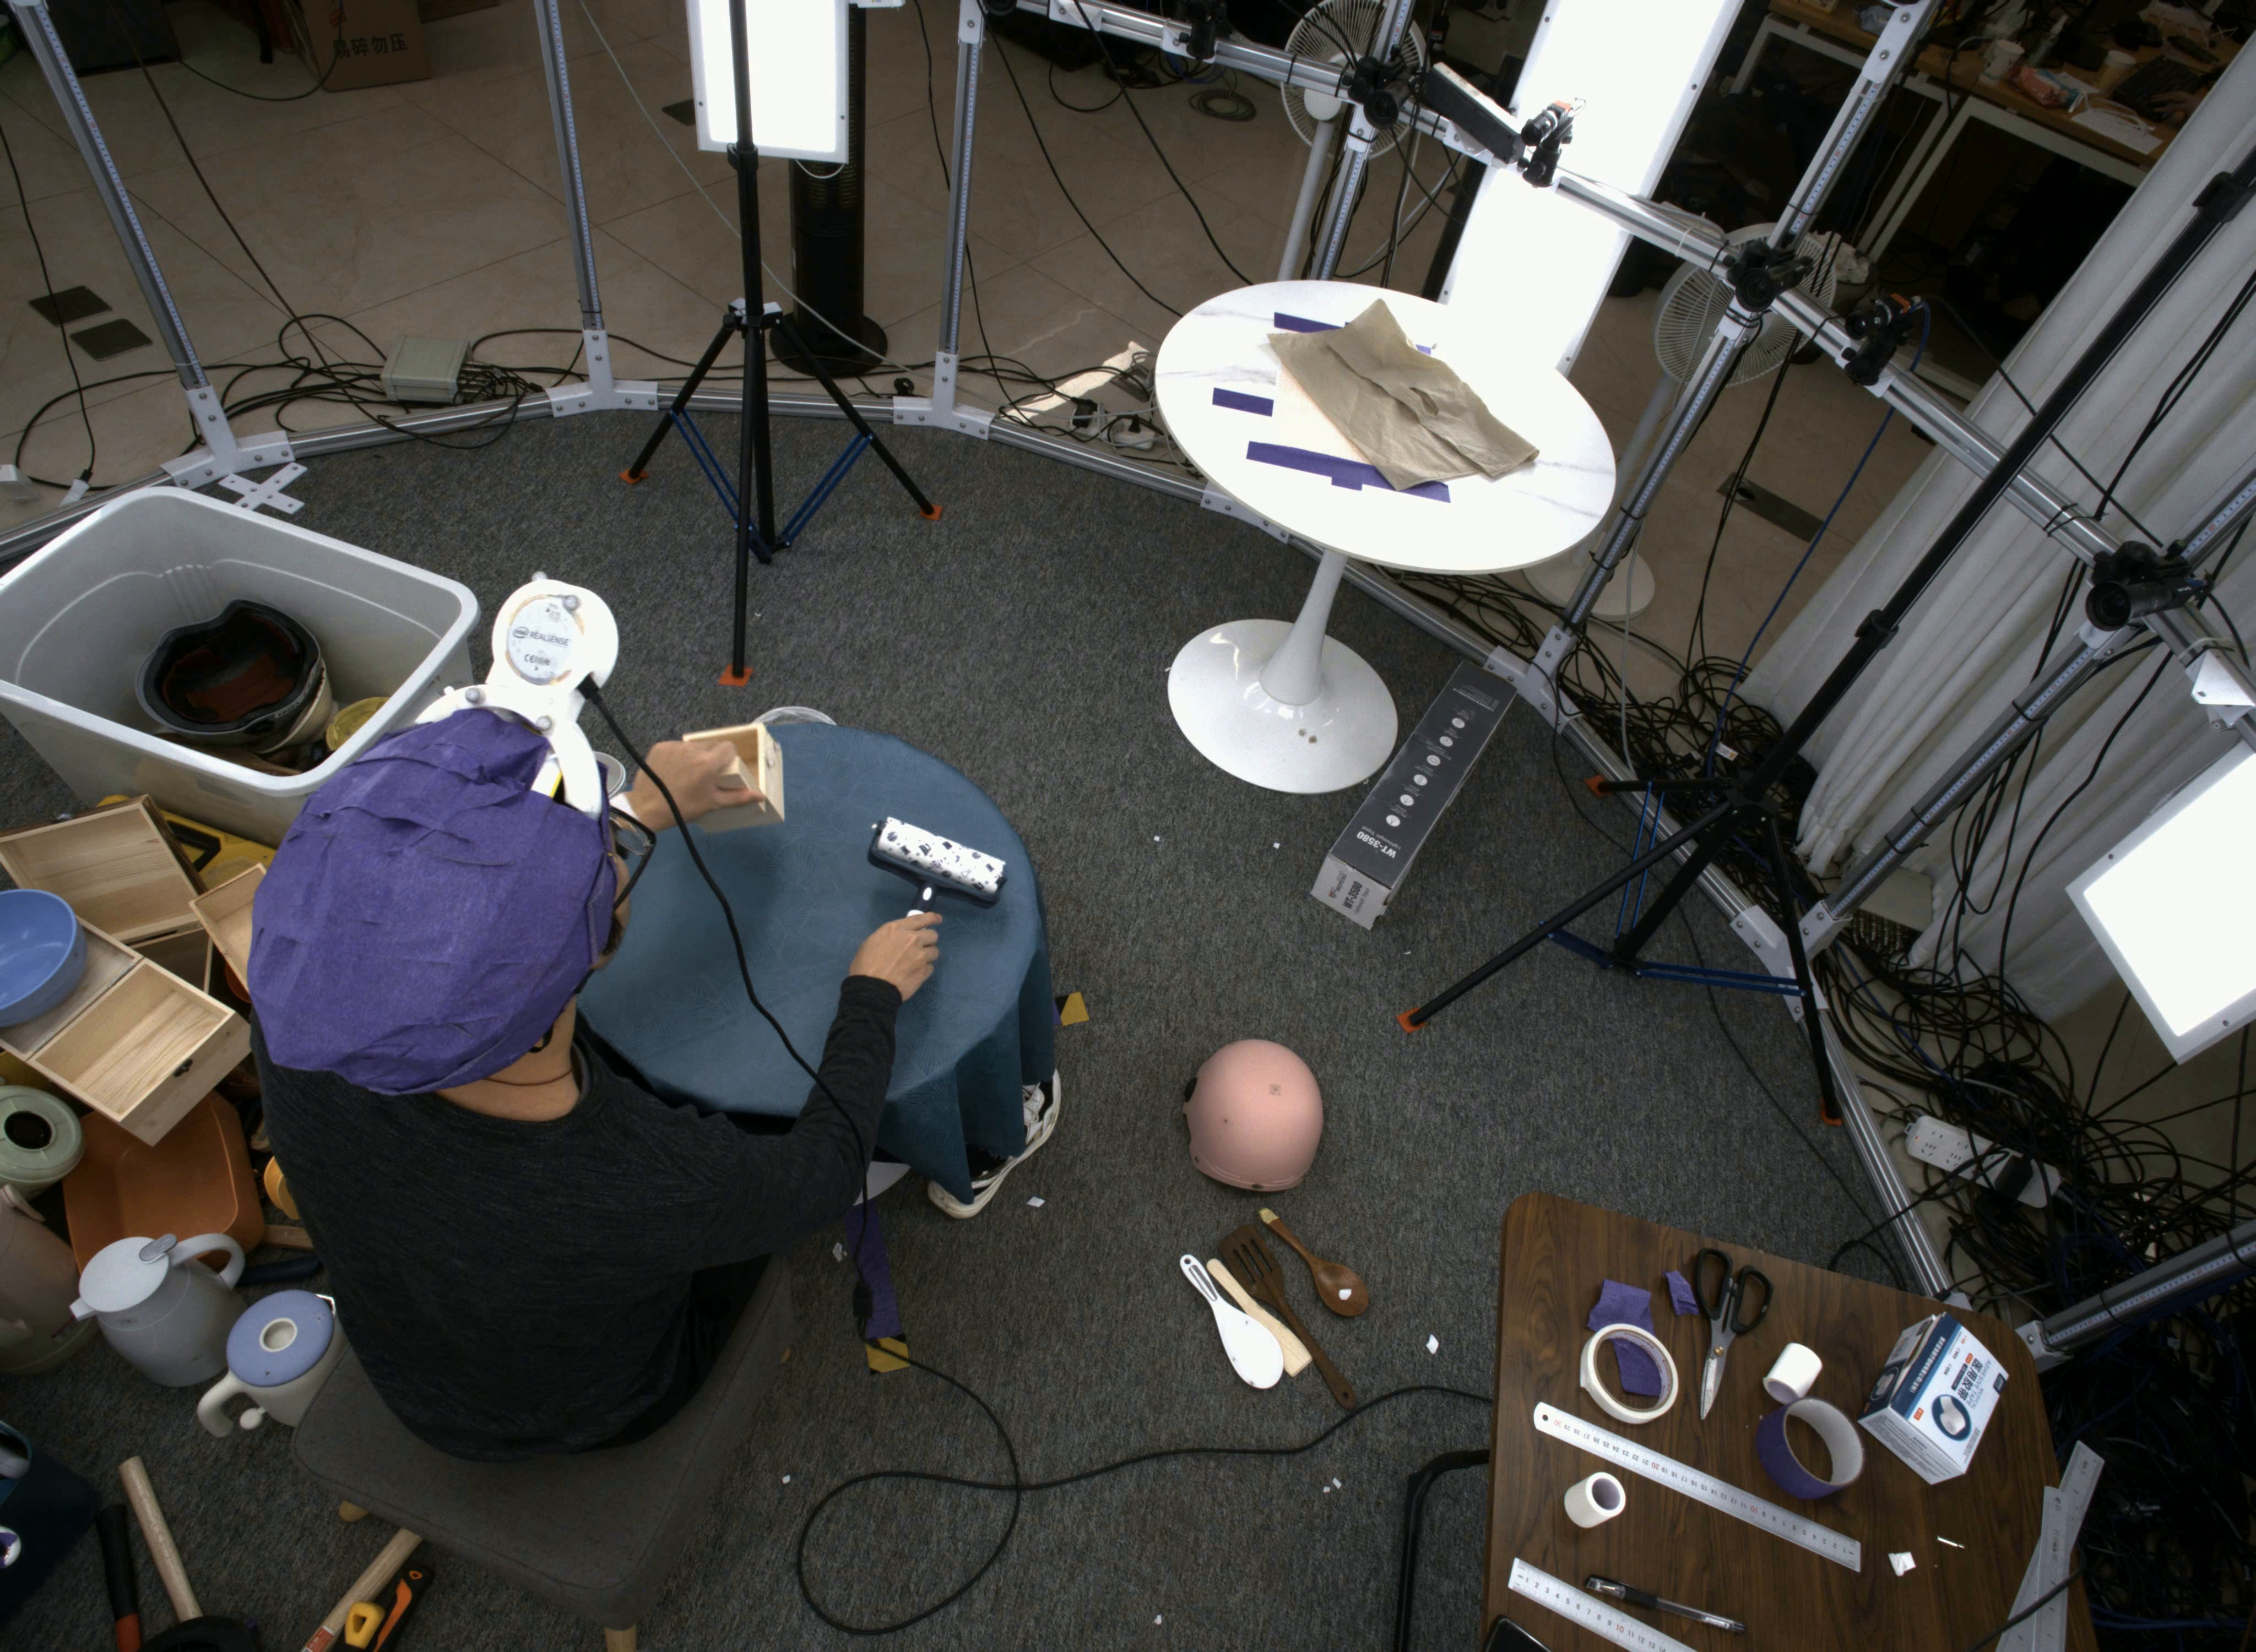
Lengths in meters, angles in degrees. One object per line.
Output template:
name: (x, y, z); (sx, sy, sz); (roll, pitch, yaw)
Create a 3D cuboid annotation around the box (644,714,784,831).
box: (-0.488, -0.079, 1.526); (0.101, 0.189, 0.132); (-11, 66, 1)

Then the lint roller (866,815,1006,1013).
lint roller: (-0.258, 0.113, 1.595); (0.178, 0.050, 0.244); (22, 53, -14)
